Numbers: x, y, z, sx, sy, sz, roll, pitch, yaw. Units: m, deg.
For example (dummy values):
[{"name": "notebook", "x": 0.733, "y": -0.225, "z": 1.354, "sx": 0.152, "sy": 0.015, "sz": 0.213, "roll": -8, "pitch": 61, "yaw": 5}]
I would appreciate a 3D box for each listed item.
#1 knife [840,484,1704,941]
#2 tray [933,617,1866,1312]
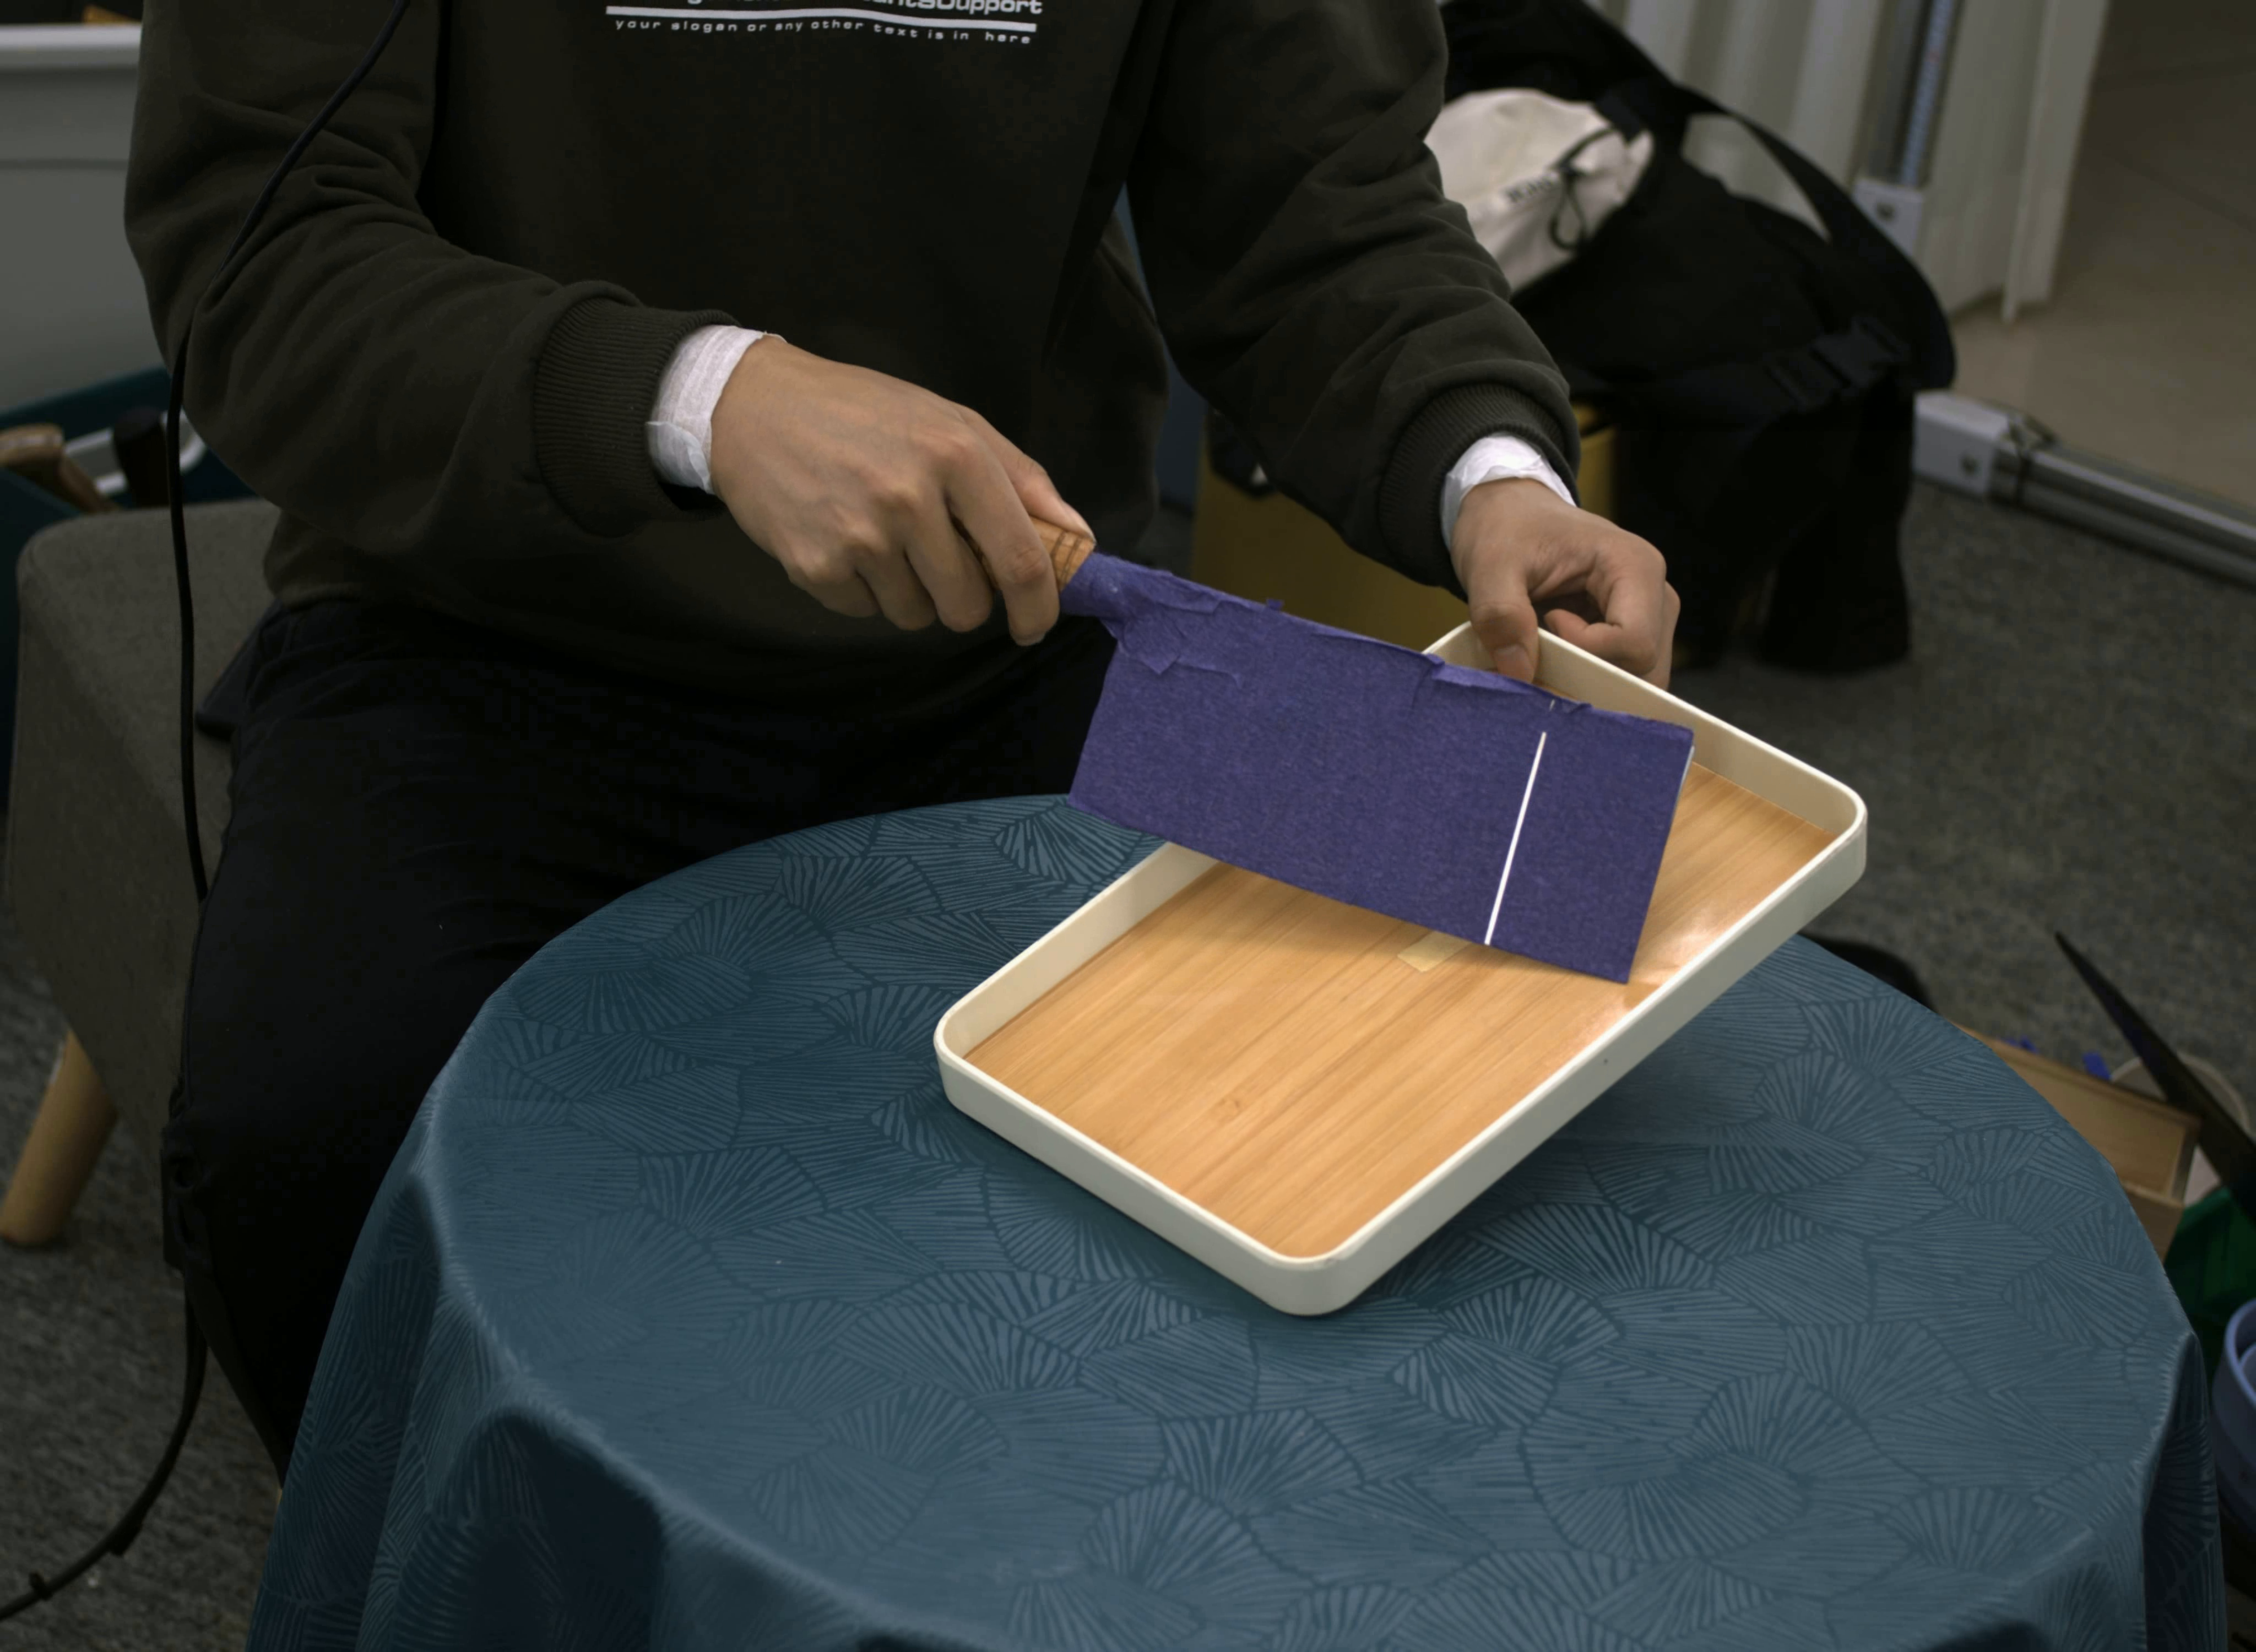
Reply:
[{"name": "knife", "x": 0.039, "y": -0.038, "z": 1.866, "sx": 0.315, "sy": 0.104, "sz": 0.032, "roll": 16, "pitch": 0, "yaw": 12}, {"name": "tray", "x": 0.097, "y": 0.042, "z": 1.859, "sx": 0.300, "sy": 0.027, "sz": 0.193, "roll": -36, "pitch": 47, "yaw": -29}]
